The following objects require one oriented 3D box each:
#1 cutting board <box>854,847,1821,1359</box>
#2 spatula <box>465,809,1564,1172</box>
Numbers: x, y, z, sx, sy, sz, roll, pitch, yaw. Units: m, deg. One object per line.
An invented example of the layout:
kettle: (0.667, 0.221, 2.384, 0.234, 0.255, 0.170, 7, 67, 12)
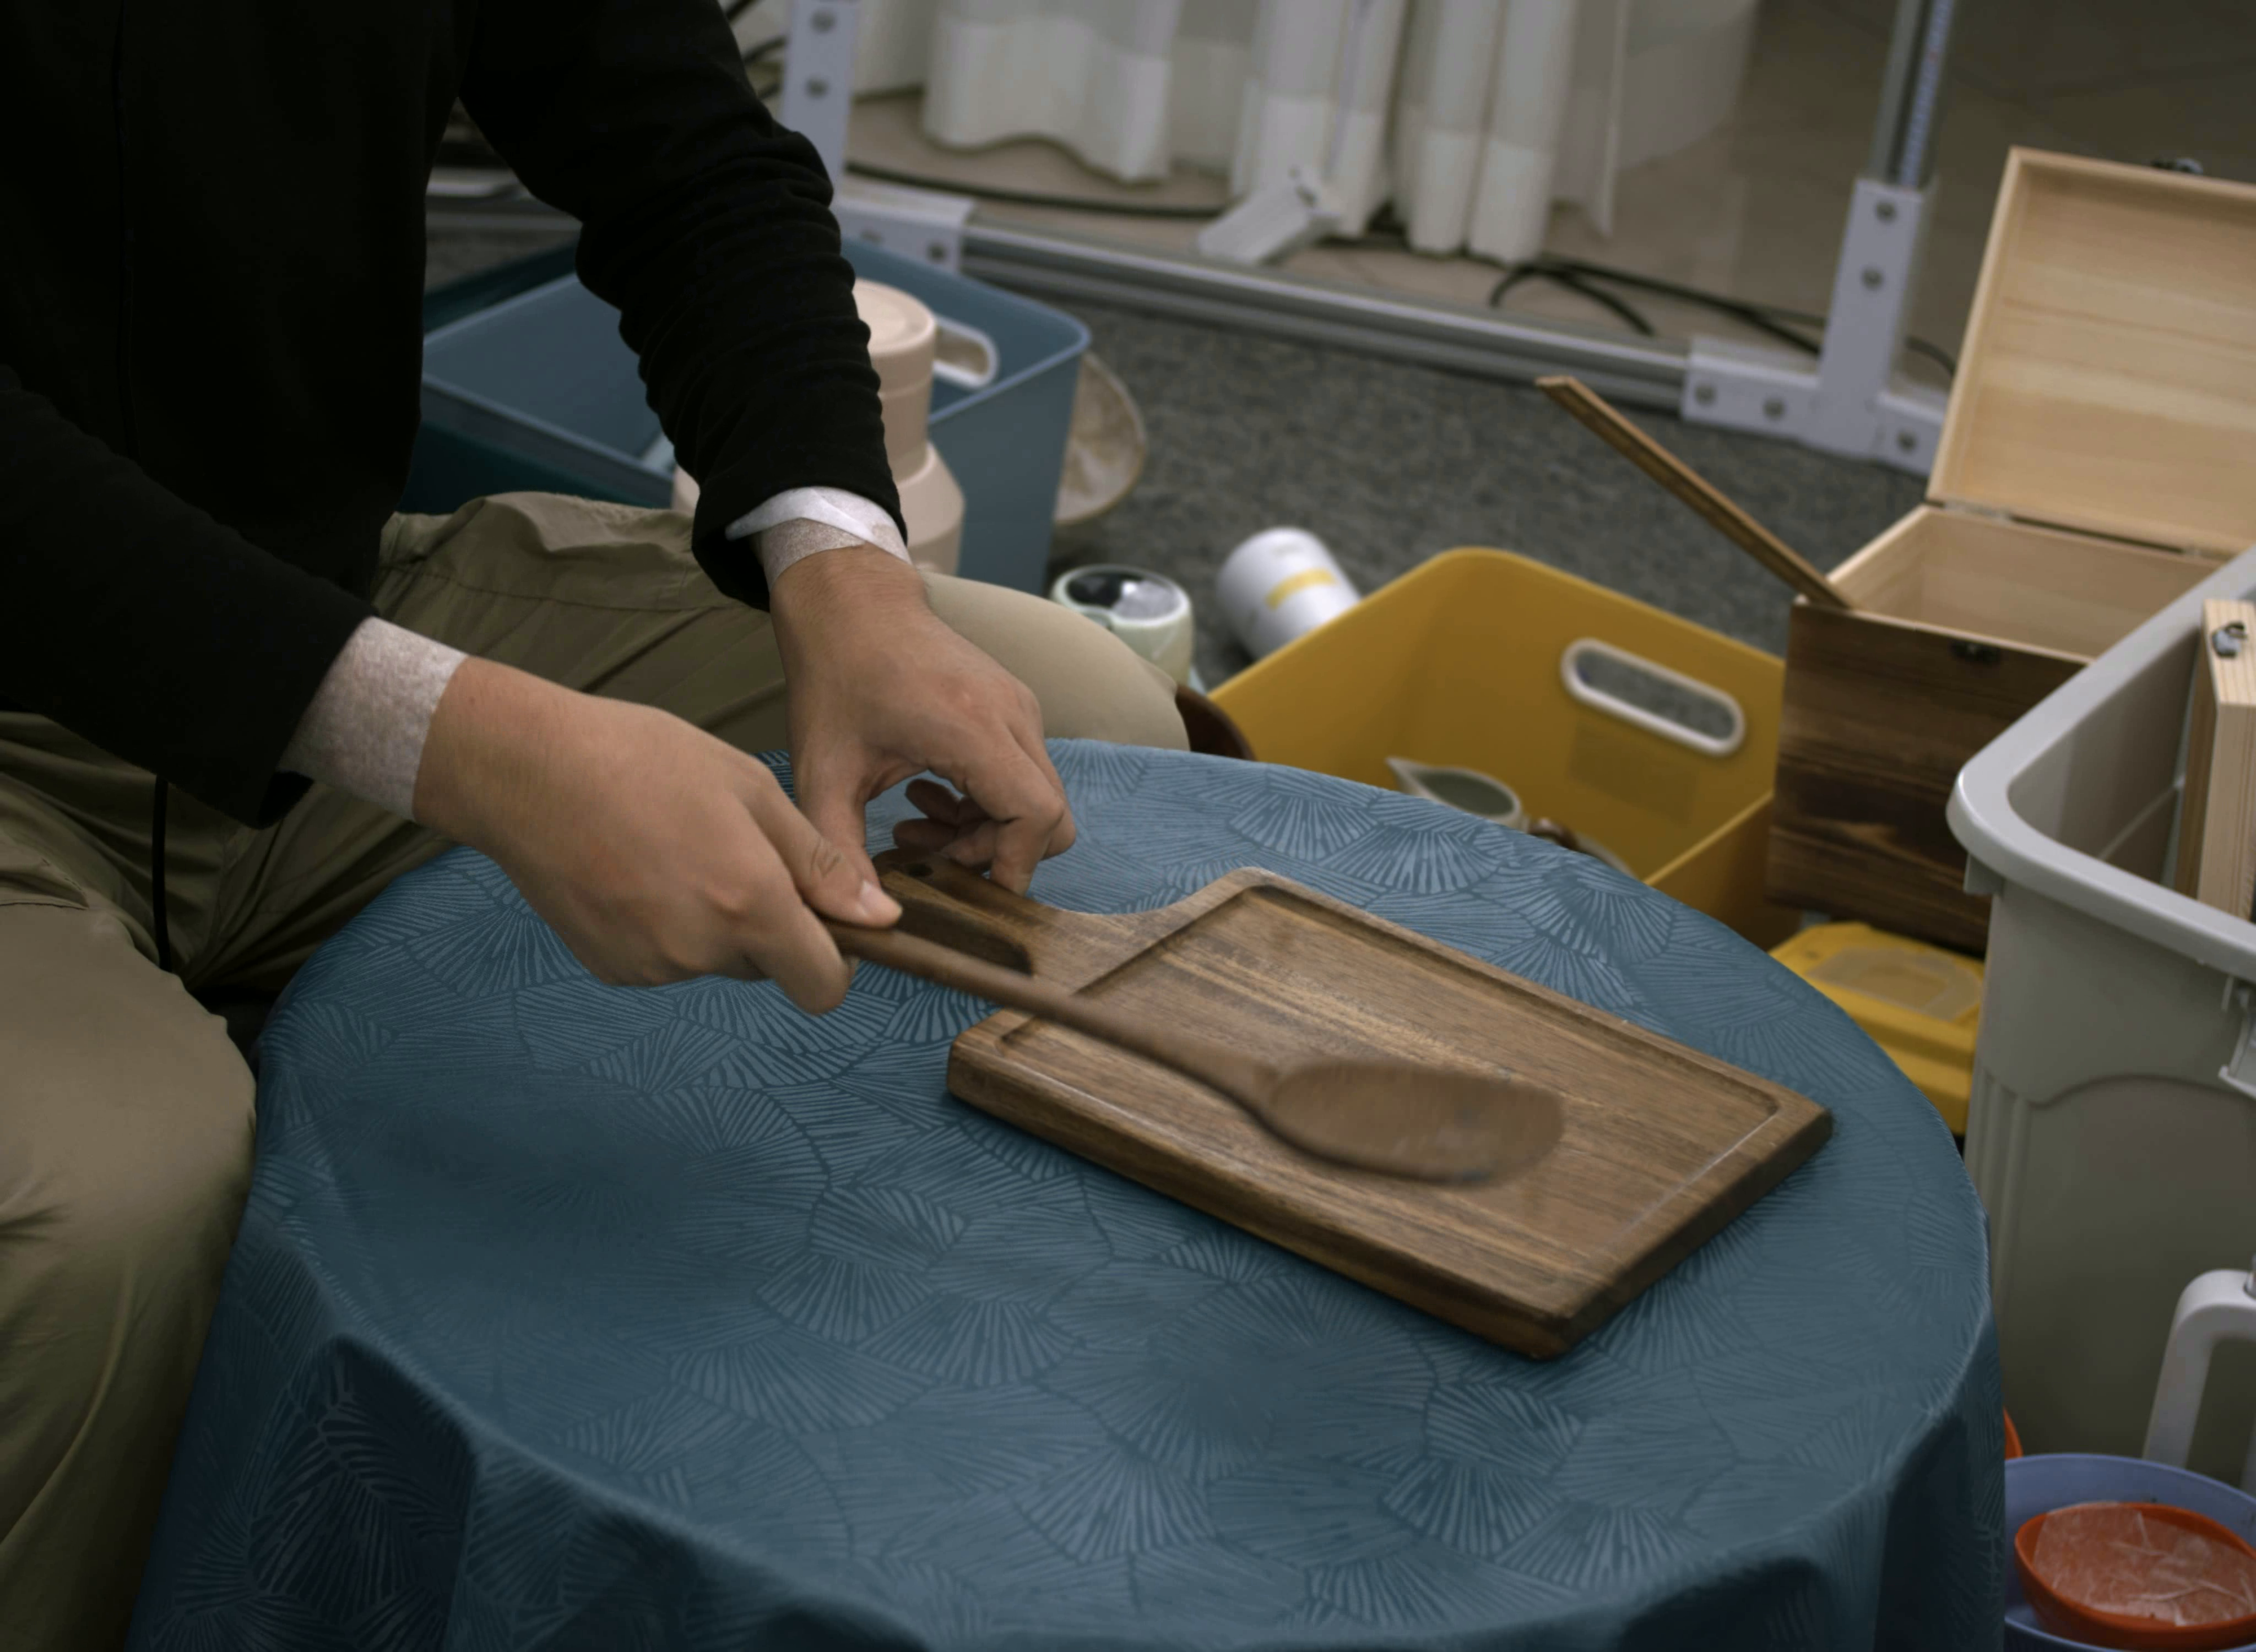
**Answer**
cutting board: (0.050, 0.077, 1.879, 0.354, 0.023, 0.200, 22, 31, 28)
spatula: (-0.044, 0.049, 1.723, 0.387, 0.016, 0.096, 17, 20, 18)
